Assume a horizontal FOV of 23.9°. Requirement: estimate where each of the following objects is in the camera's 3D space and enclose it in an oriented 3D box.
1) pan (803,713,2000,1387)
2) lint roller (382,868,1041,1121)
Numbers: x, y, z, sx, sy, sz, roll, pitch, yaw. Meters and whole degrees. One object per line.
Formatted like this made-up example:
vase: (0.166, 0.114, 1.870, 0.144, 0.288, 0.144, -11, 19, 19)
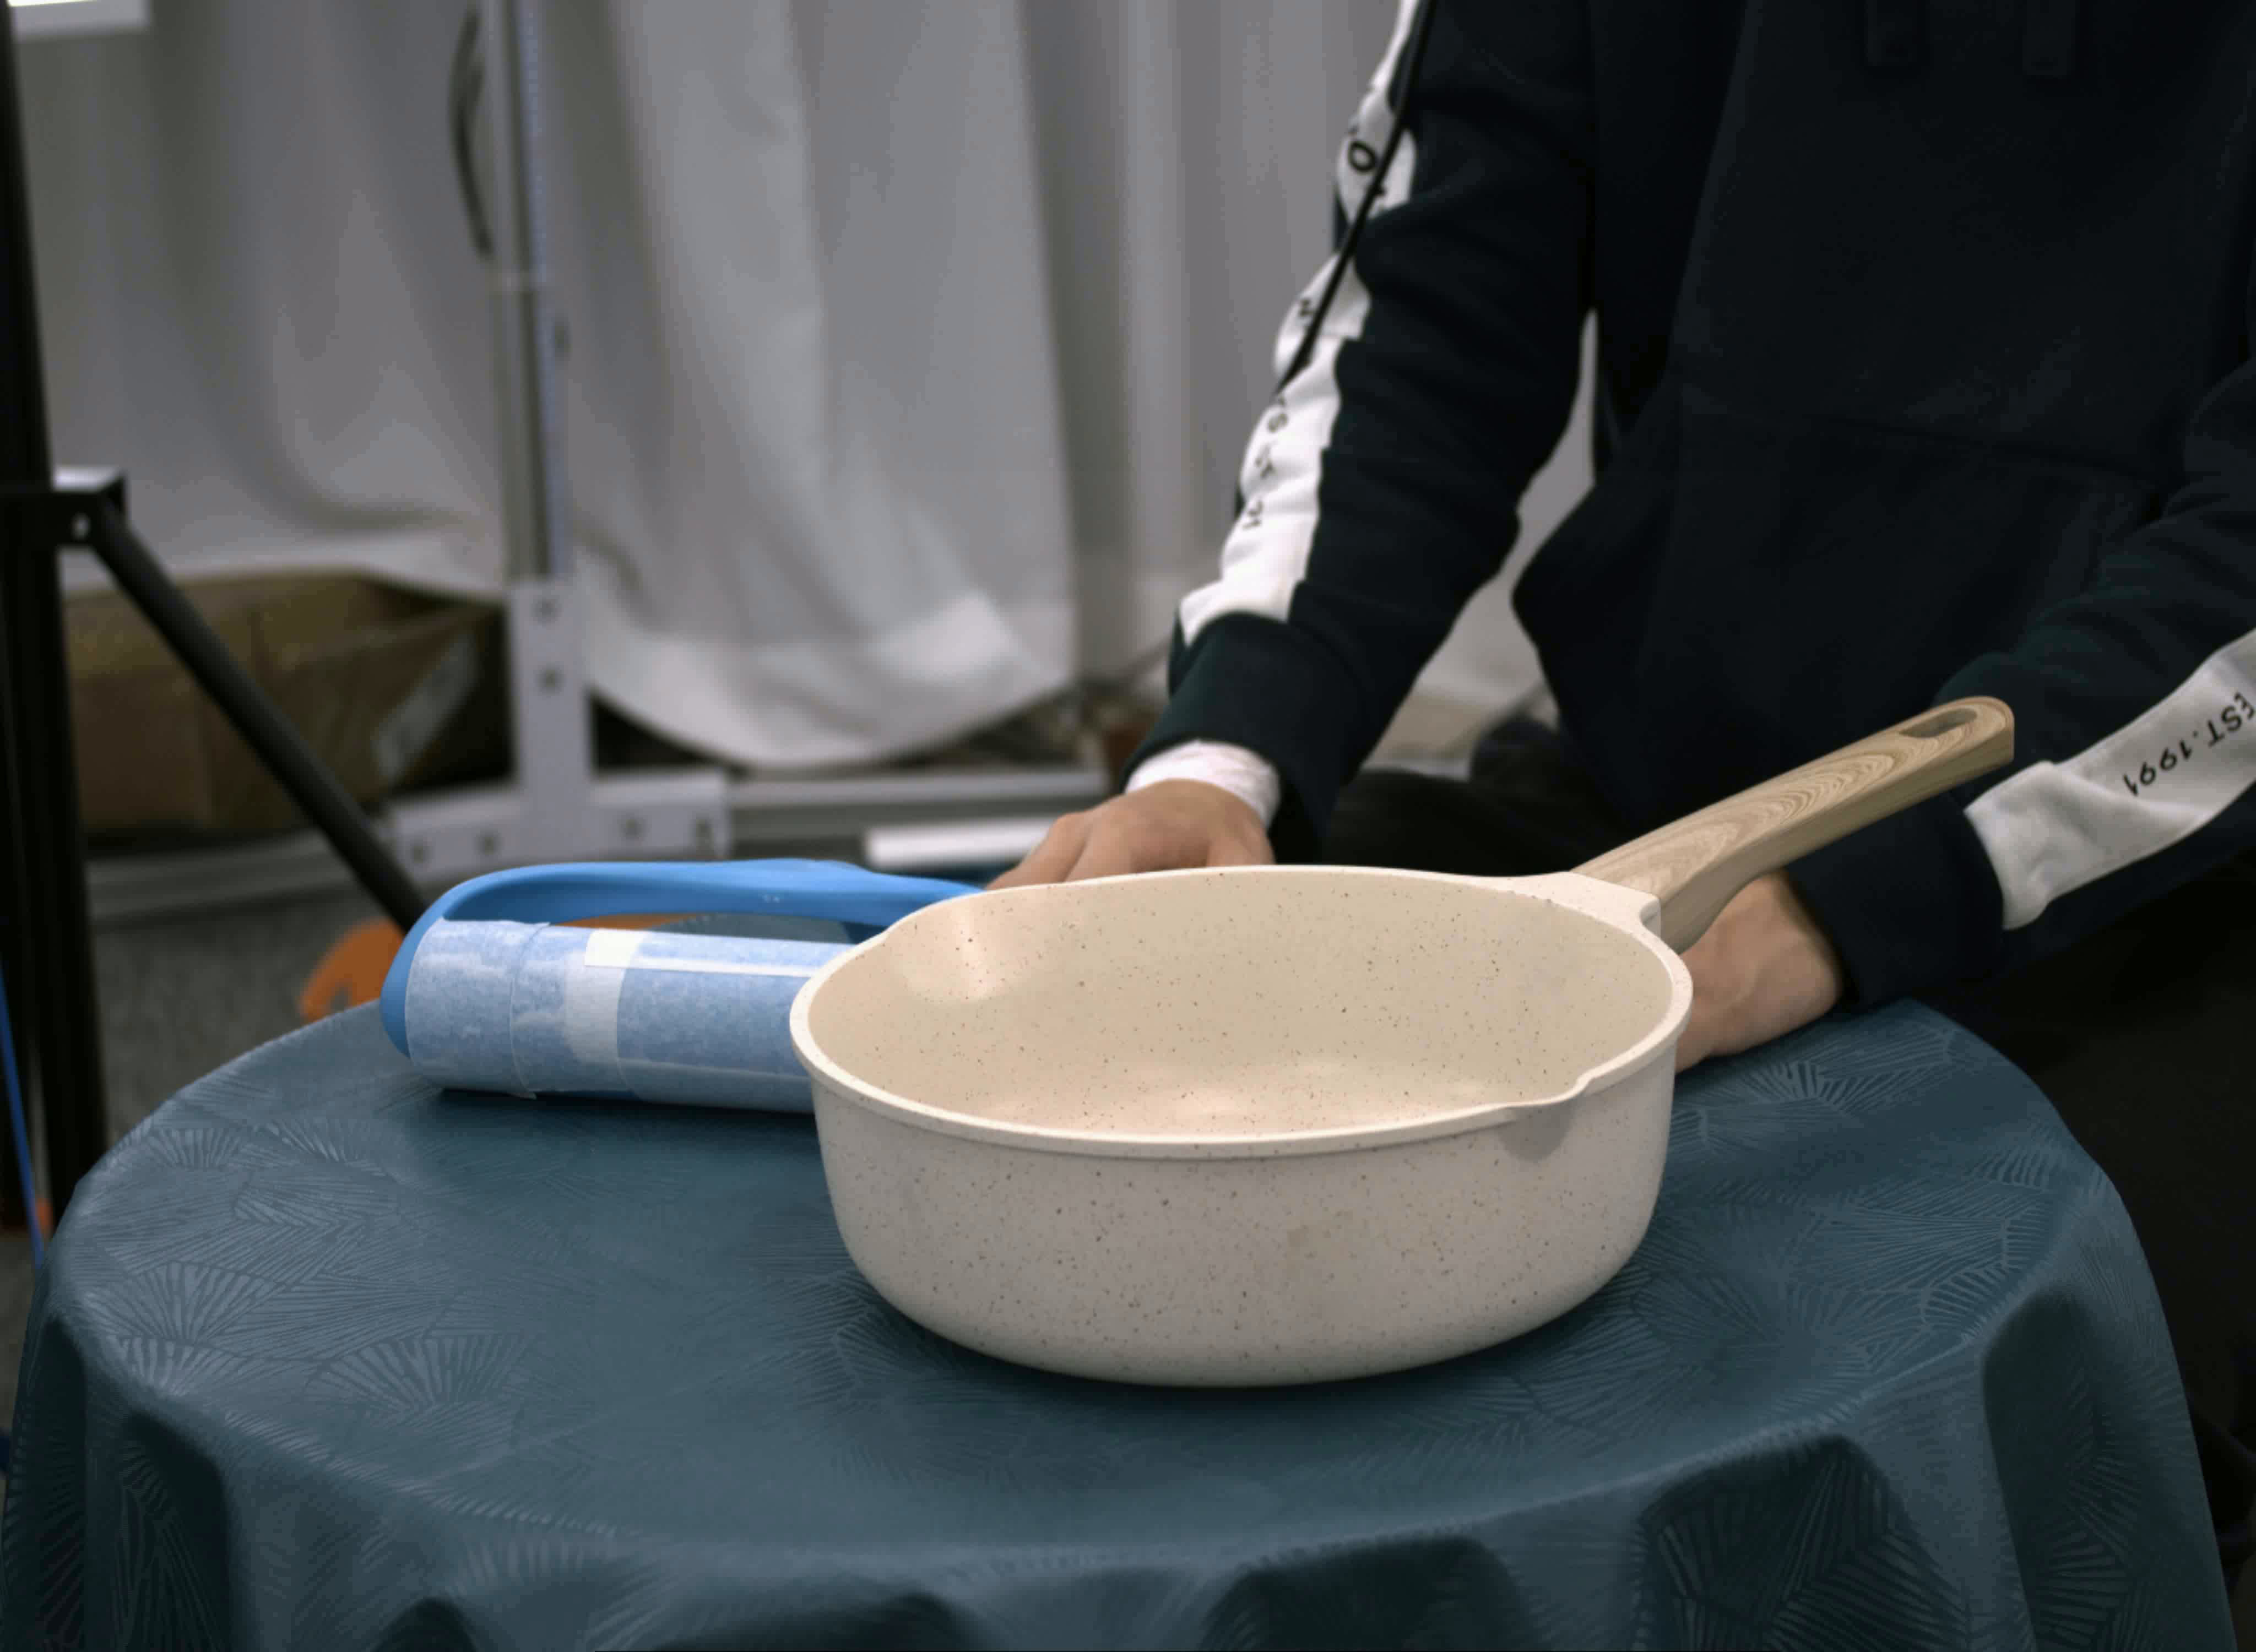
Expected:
pan: (0.106, 0.059, 1.529, 0.425, 0.102, 0.269, -15, 18, -37)
lint roller: (-0.109, 0.044, 1.700, 0.231, 0.068, 0.178, 1, 17, 18)
